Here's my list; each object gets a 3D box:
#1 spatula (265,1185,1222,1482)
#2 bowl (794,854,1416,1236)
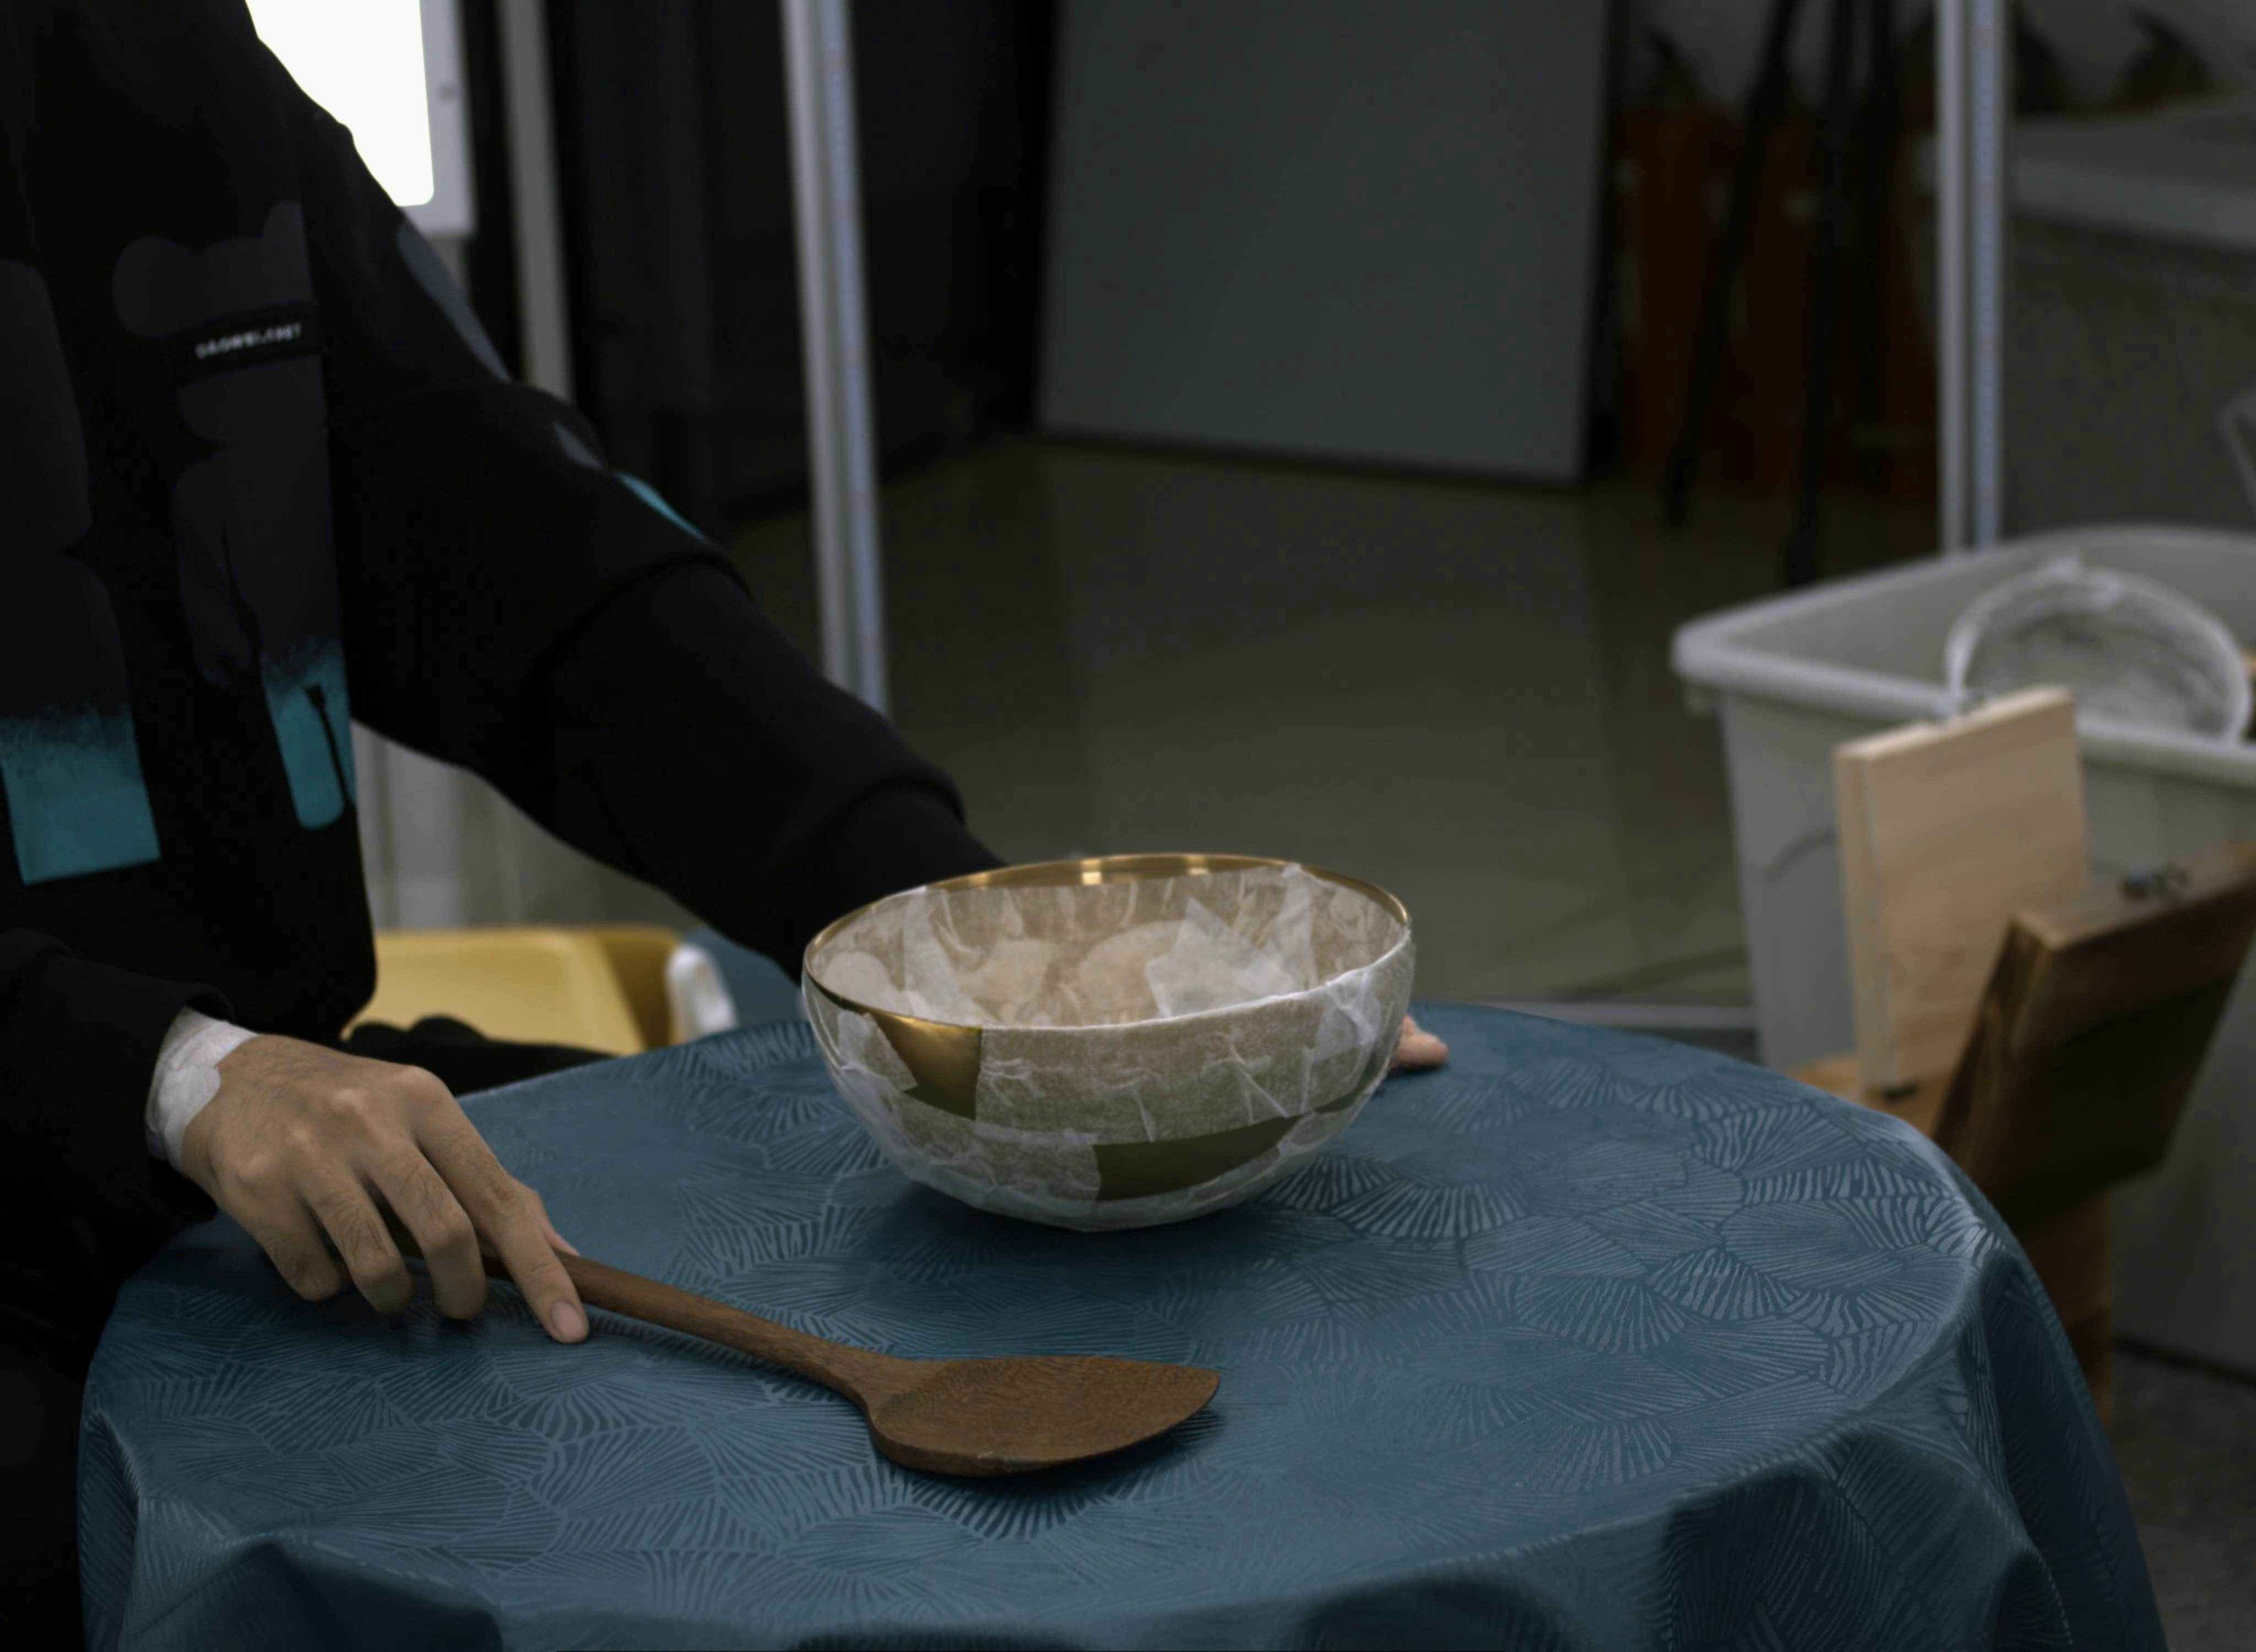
[{"bbox_3d":[-0.135,0.149,1.650,0.389,0.016,0.094,11,20,41],"label":"spatula"},{"bbox_3d":[-0.002,0.078,1.757,0.212,0.095,0.215,-7,13,1],"label":"bowl"}]
